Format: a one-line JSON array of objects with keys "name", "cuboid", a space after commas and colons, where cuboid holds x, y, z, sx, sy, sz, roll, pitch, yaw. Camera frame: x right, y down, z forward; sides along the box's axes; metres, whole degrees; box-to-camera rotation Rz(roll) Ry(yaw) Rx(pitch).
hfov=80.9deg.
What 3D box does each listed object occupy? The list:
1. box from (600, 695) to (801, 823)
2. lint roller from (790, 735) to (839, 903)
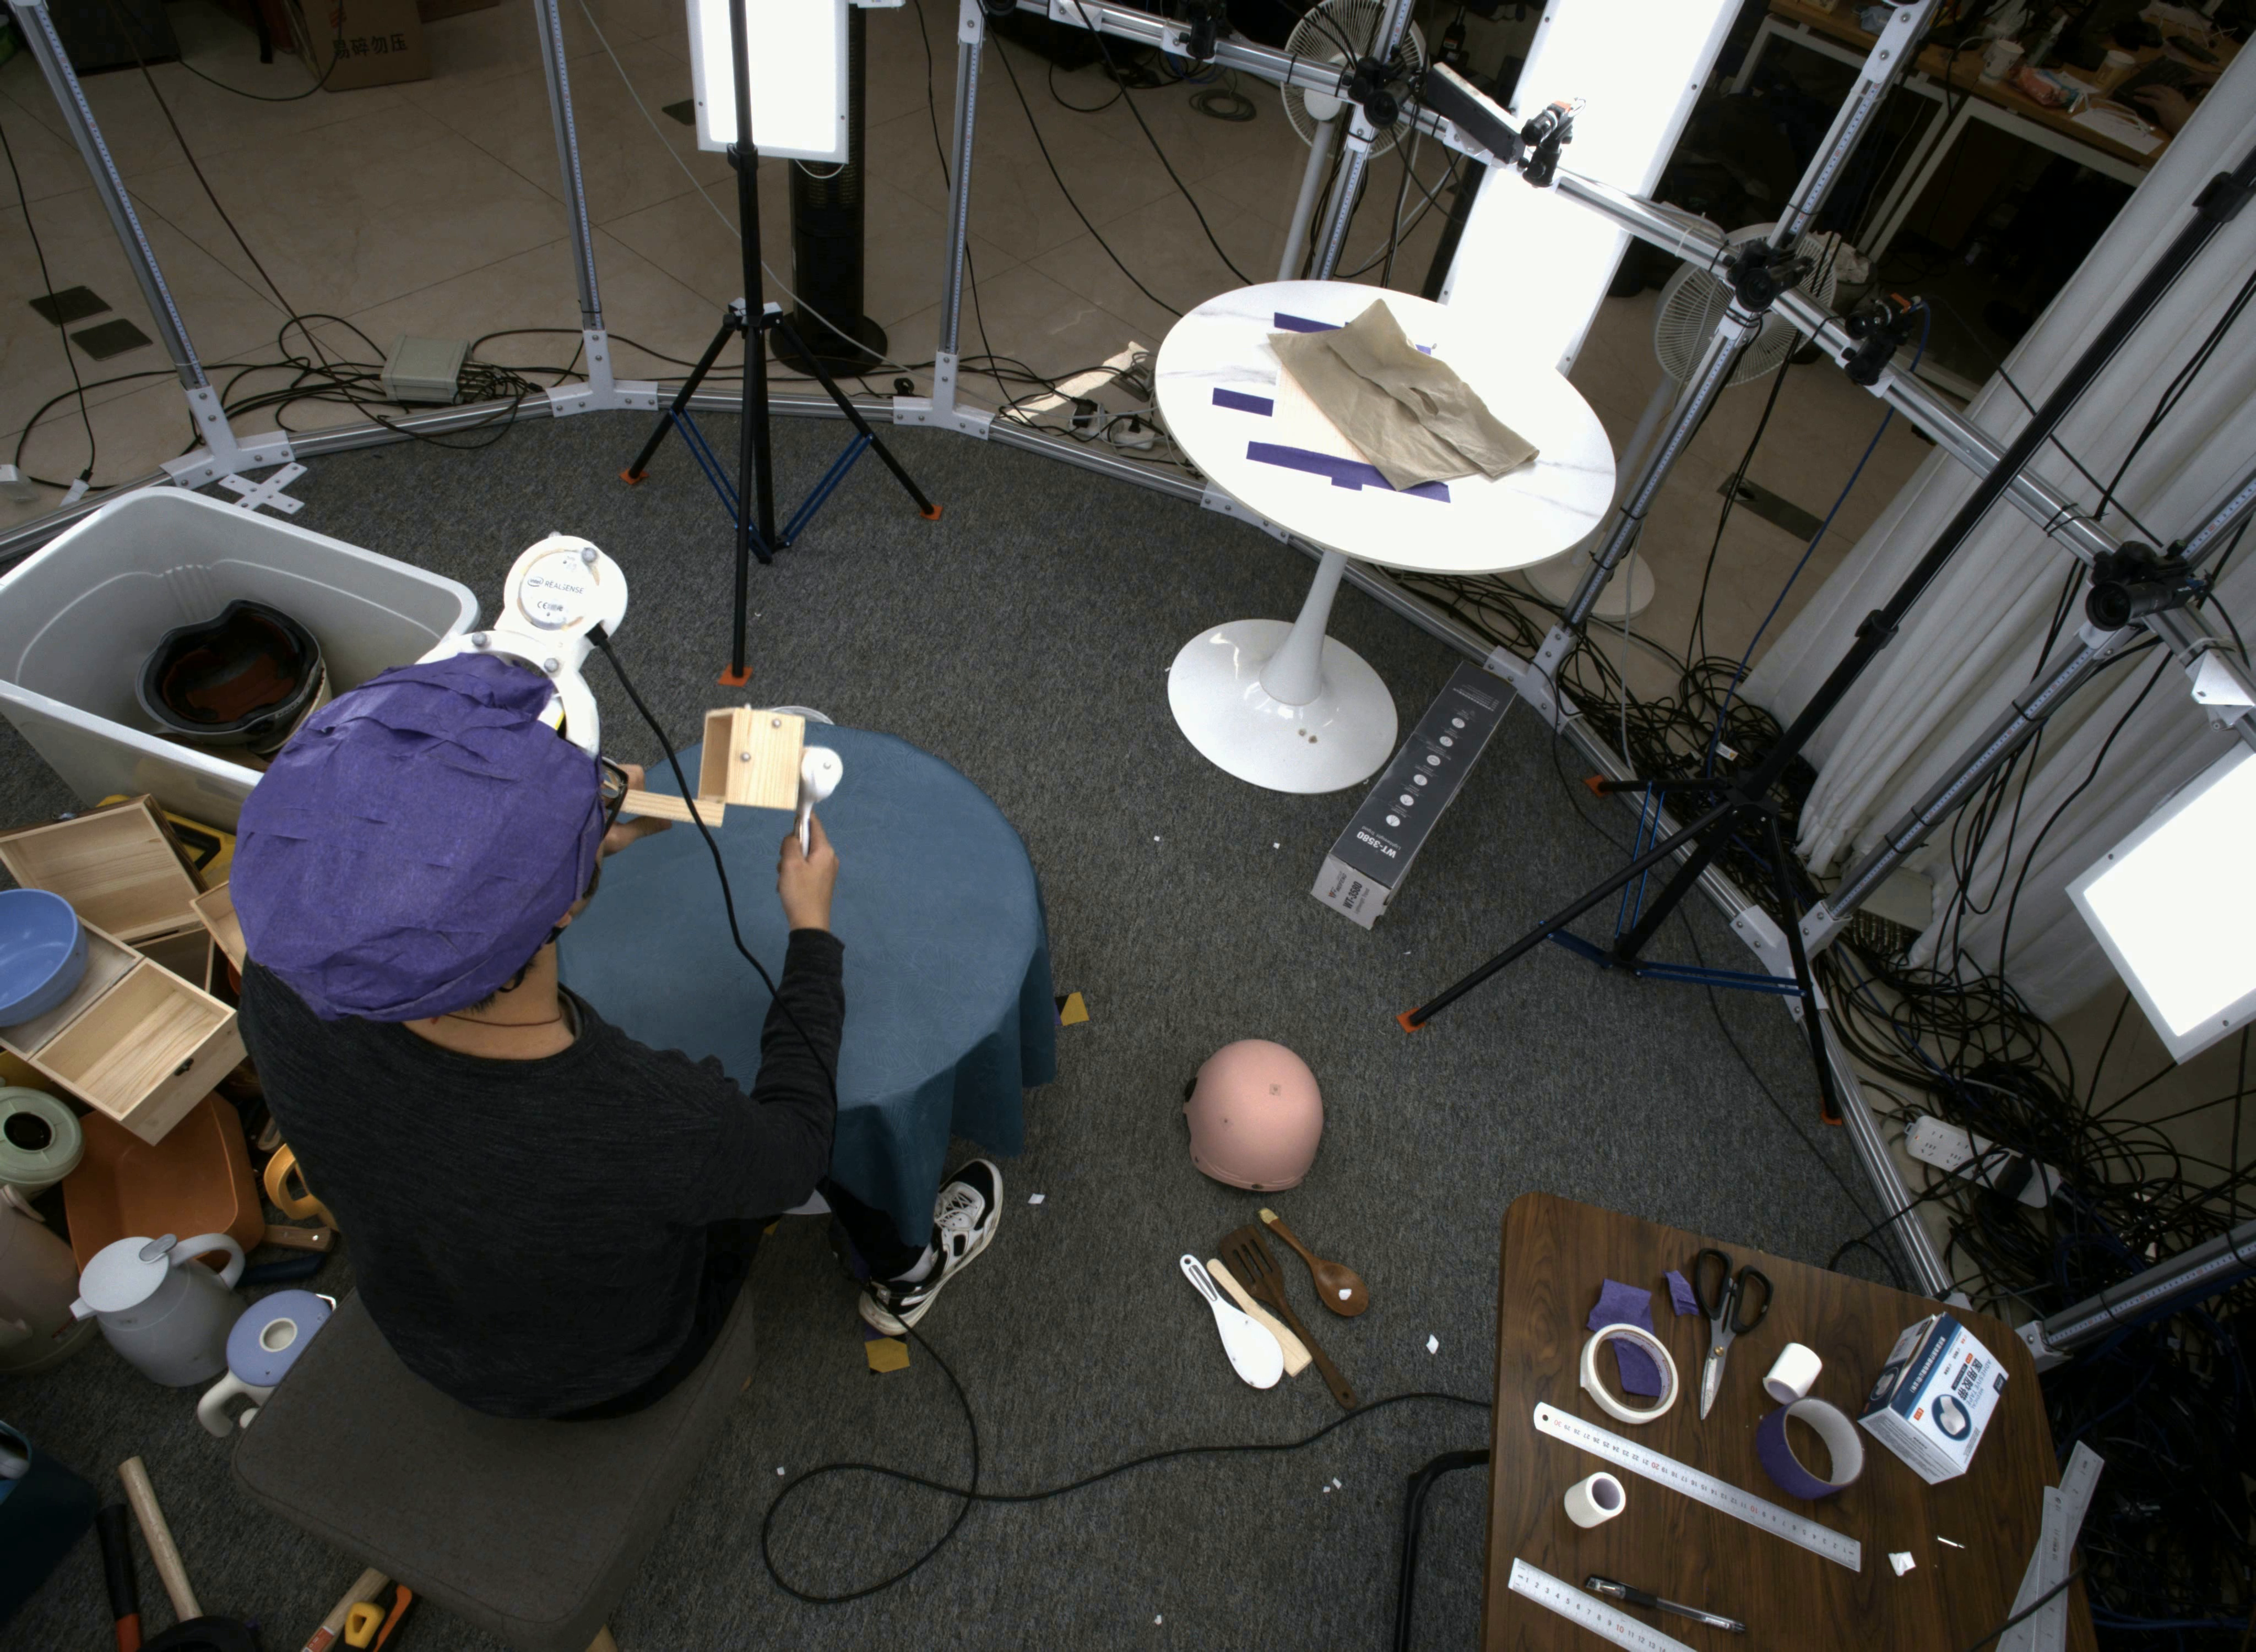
[{"name": "box", "cuboid": [-0.452, -0.073, 1.350, 0.188, 0.099, 0.135, 6, 88, -36]}, {"name": "lint roller", "cuboid": [-0.351, -0.009, 1.423, 0.051, 0.129, 0.184, -10, 99, -34]}]
